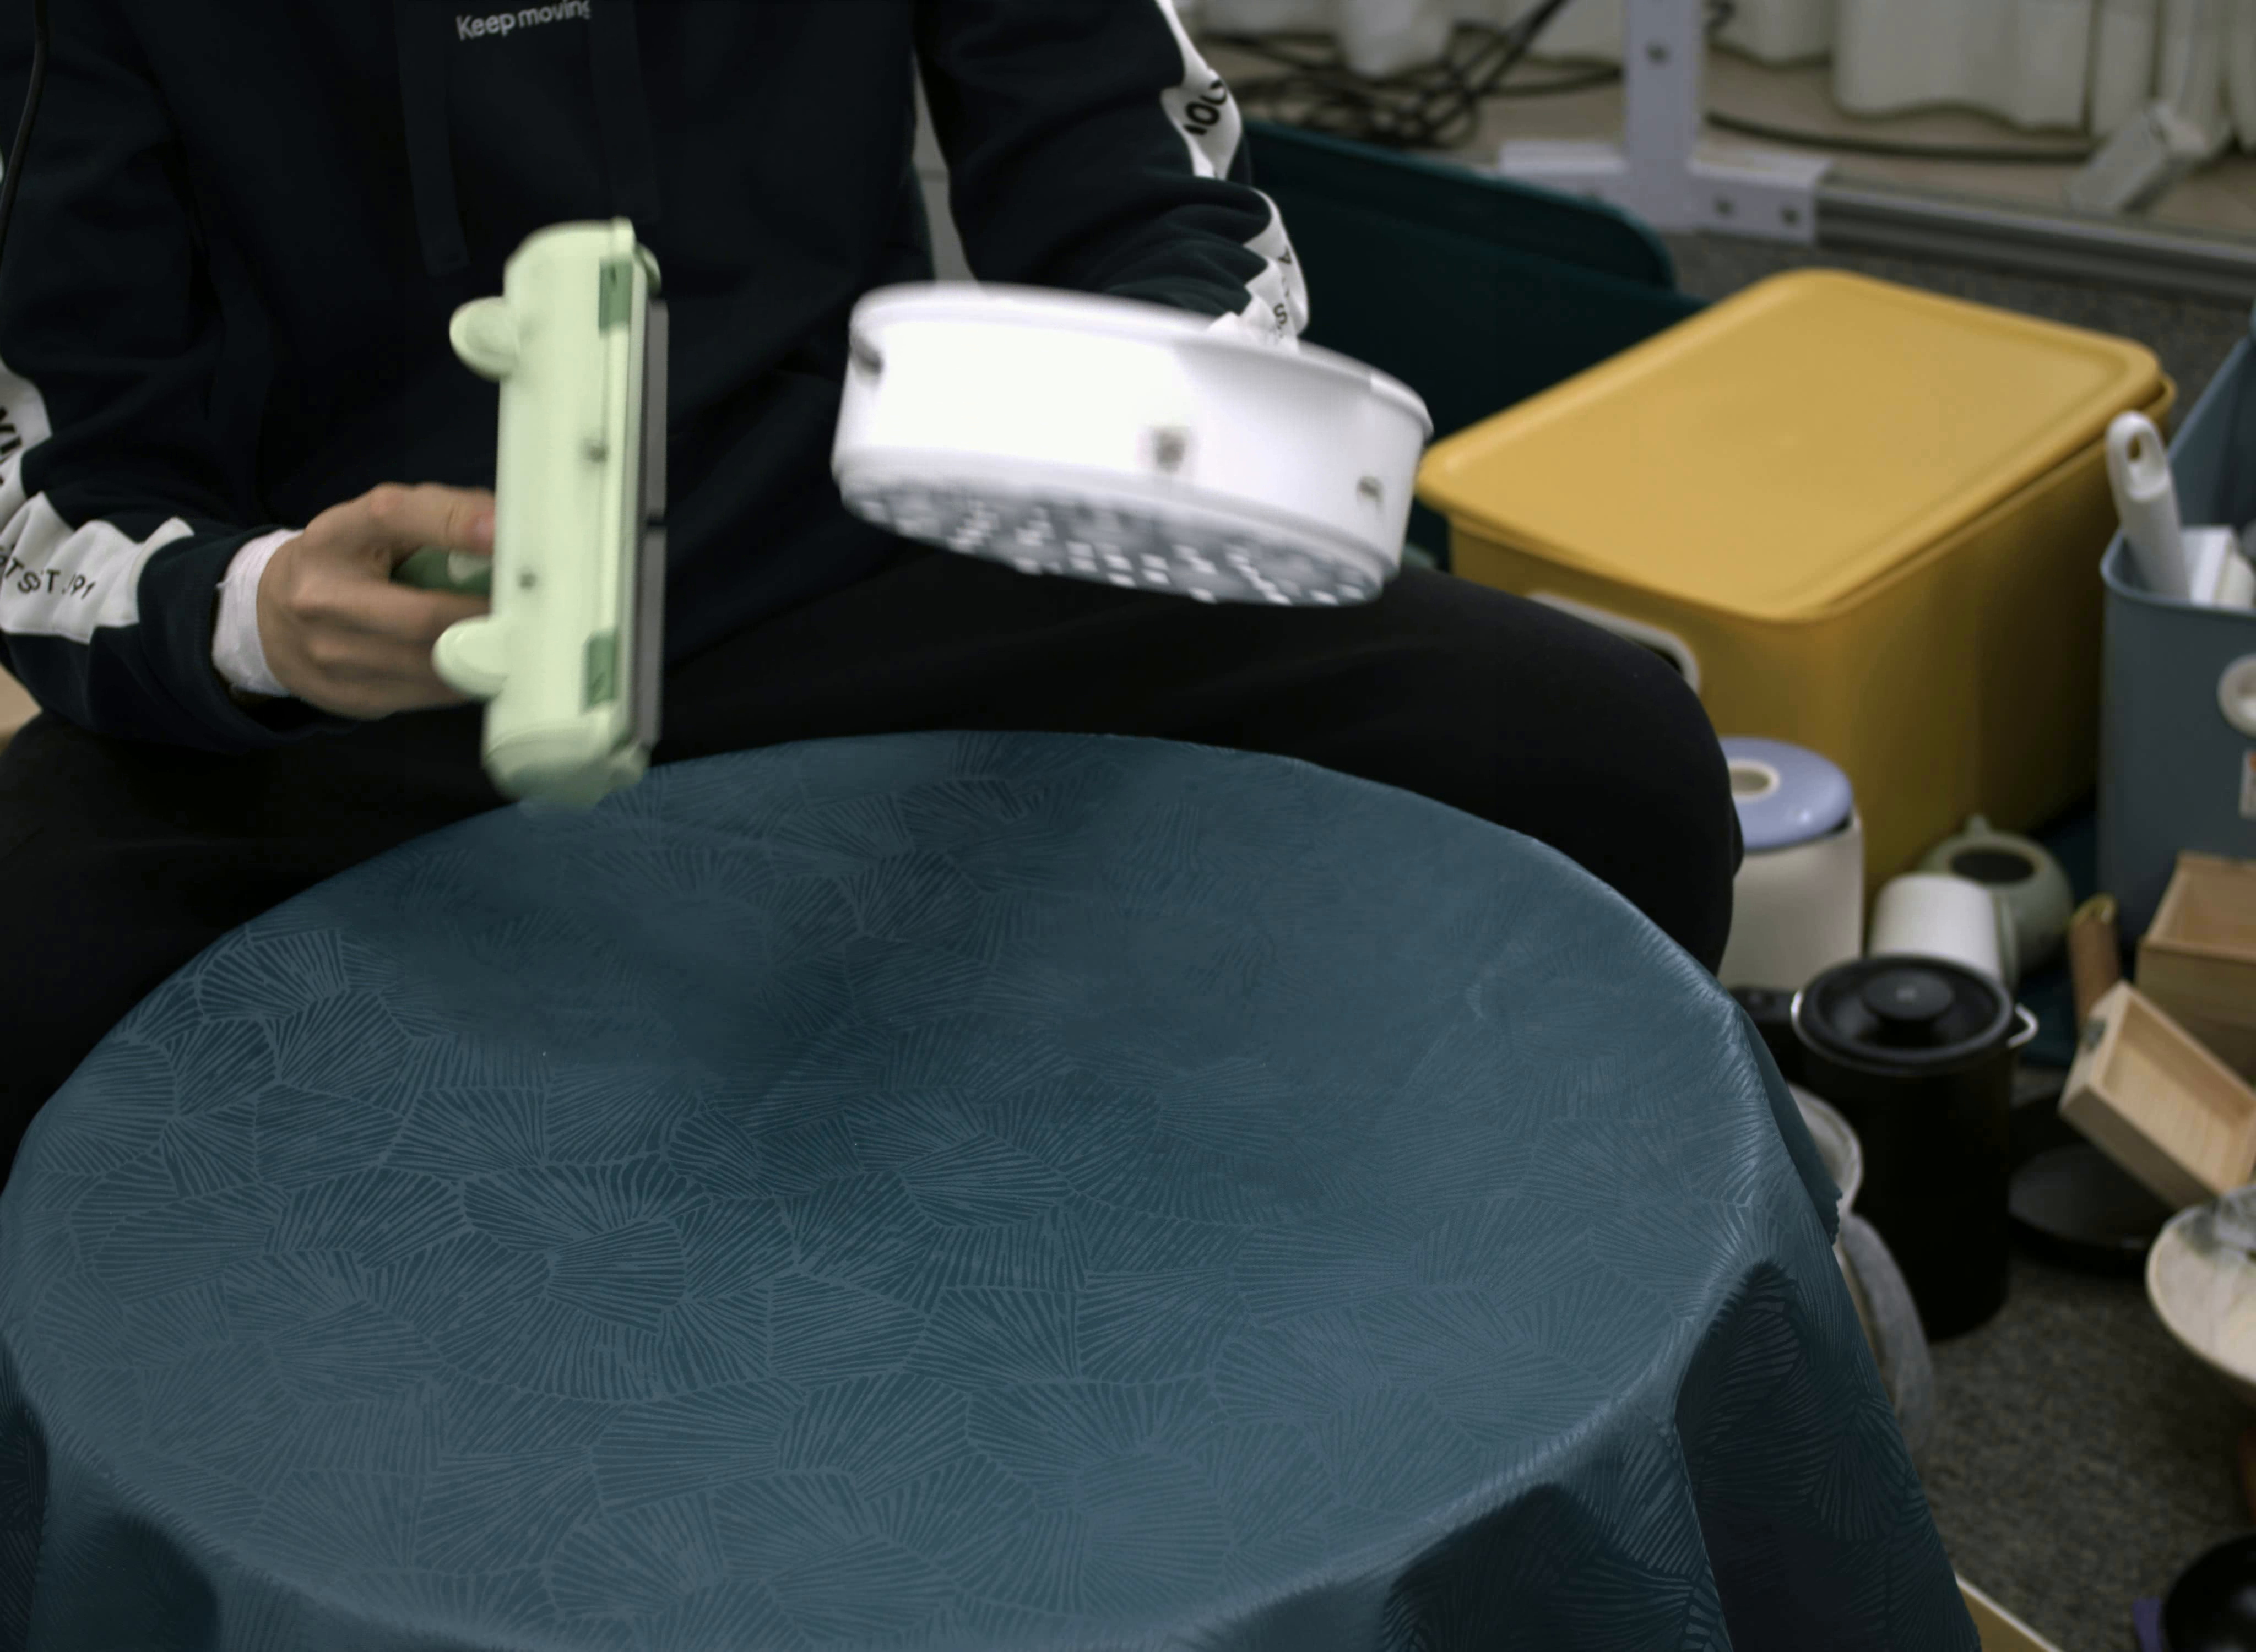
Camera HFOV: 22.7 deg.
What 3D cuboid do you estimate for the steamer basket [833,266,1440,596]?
[{"bbox_3d":[0.001,-0.128,1.887,0.201,0.070,0.229,14,-6,-27],"label":"steamer basket"}]

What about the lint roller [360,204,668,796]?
[{"bbox_3d":[-0.229,-0.098,1.939,0.180,0.201,0.082,-20,-26,41],"label":"lint roller"}]
